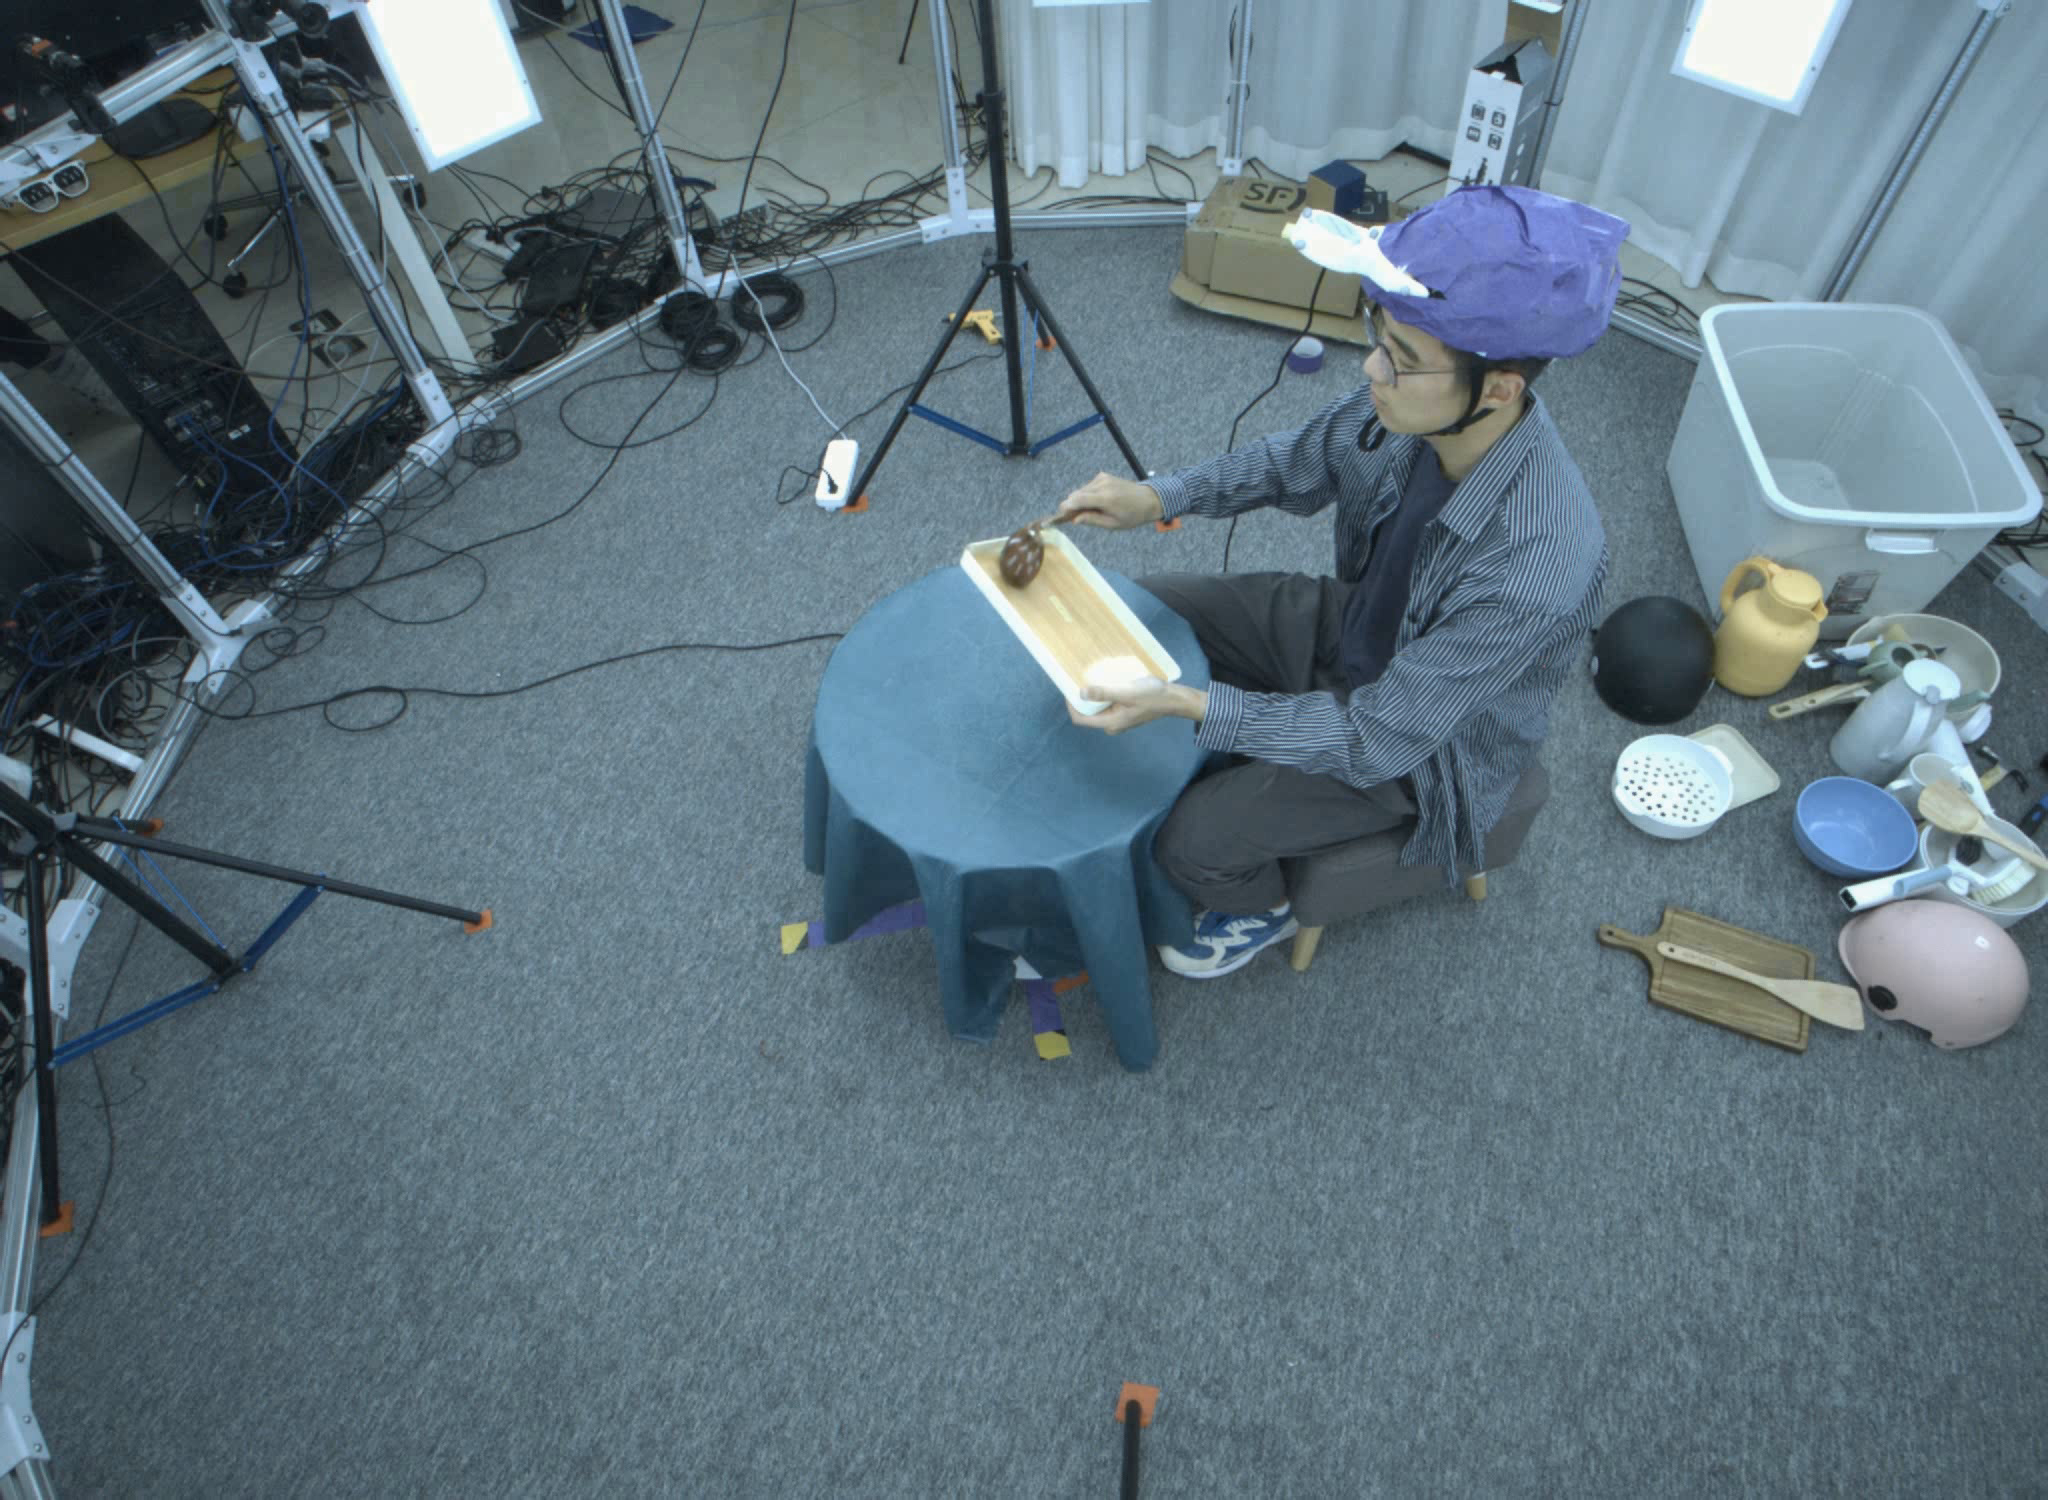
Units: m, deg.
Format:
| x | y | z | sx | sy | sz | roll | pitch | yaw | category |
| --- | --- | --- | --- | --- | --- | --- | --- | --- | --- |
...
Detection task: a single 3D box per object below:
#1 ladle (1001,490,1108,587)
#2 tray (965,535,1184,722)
| x | y | z | sx | sy | sz | roll | pitch | yaw | category |
| --- | --- | --- | --- | --- | --- | --- | --- | --- | --- |
| 0.058 | -0.301 | 1.727 | 0.277 | 0.080 | 0.077 | -35 | 102 | -48 | ladle |
| 0.067 | -0.172 | 1.670 | 0.195 | 0.027 | 0.296 | -19 | 64 | -42 | tray |
